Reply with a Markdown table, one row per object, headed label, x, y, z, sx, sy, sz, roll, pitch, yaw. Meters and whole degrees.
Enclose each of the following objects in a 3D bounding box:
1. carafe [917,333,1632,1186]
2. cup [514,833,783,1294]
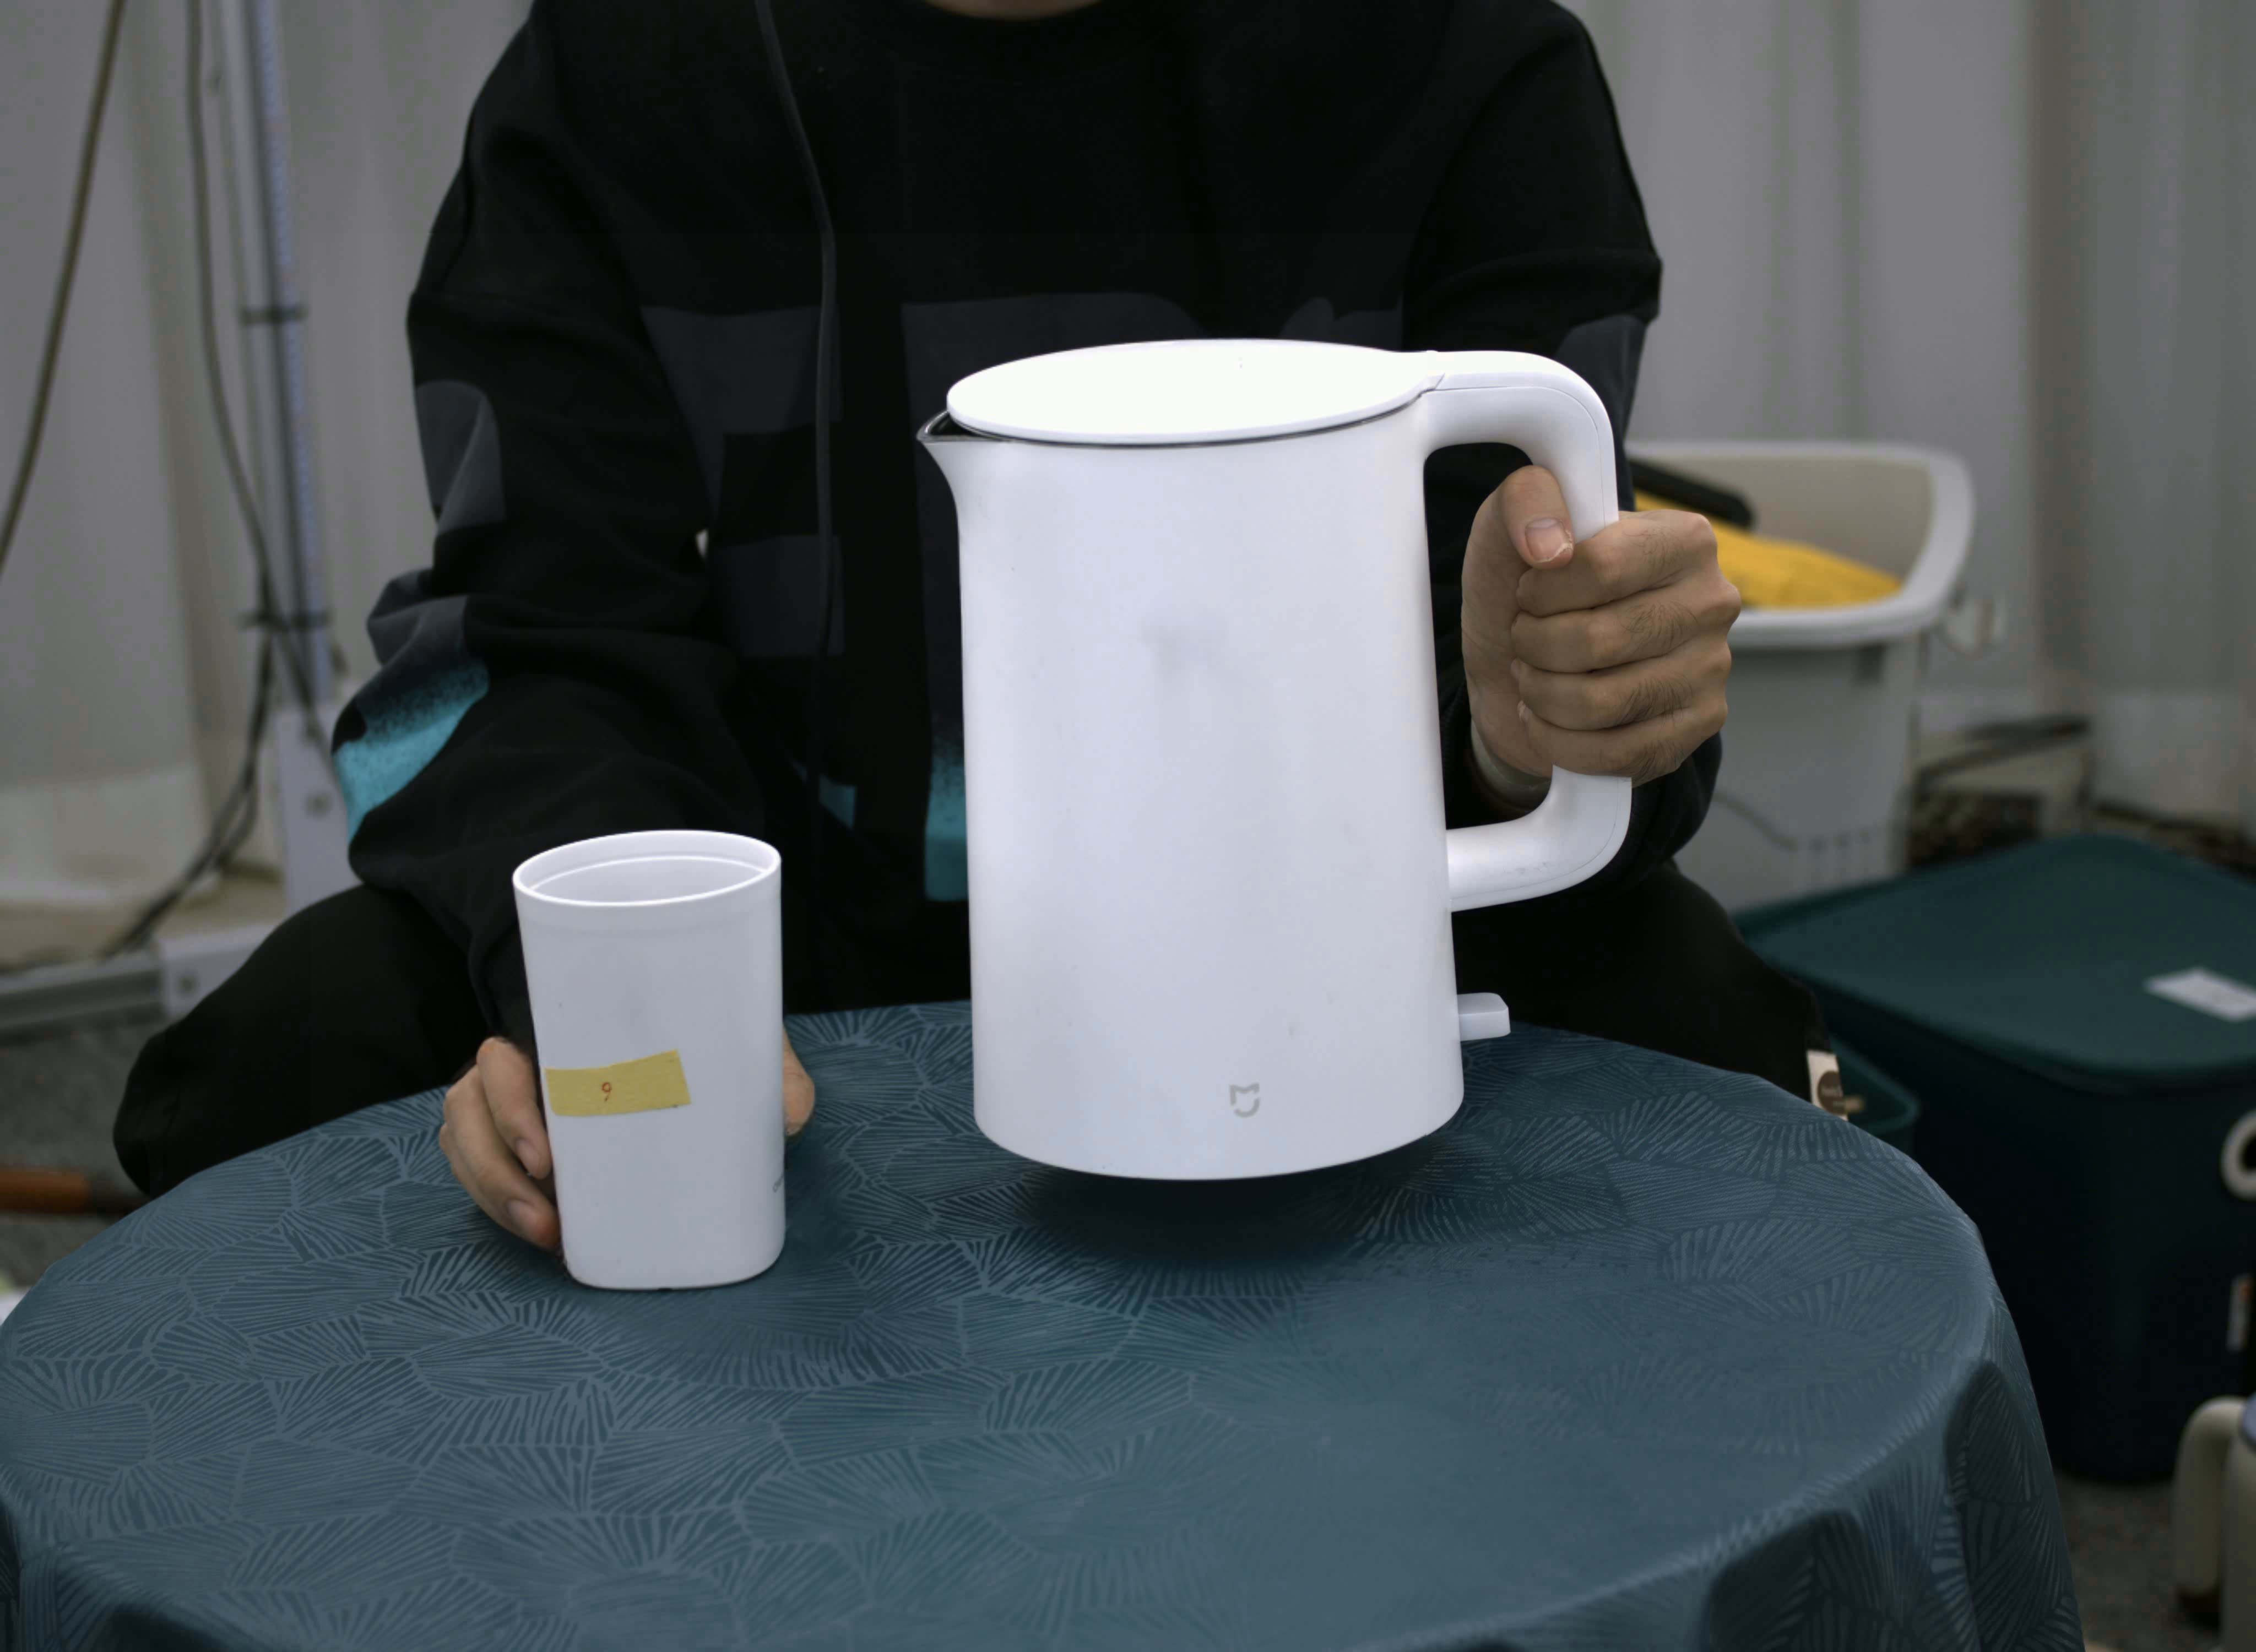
| label | x | y | z | sx | sy | sz | roll | pitch | yaw |
| --- | --- | --- | --- | --- | --- | --- | --- | --- | --- |
| carafe | 0.048 | -0.025 | 1.673 | 0.212 | 0.239 | 0.153 | -5 | 15 | -7 |
| cup | -0.142 | 0.073 | 1.661 | 0.081 | 0.125 | 0.082 | -2 | 13 | 0 |
